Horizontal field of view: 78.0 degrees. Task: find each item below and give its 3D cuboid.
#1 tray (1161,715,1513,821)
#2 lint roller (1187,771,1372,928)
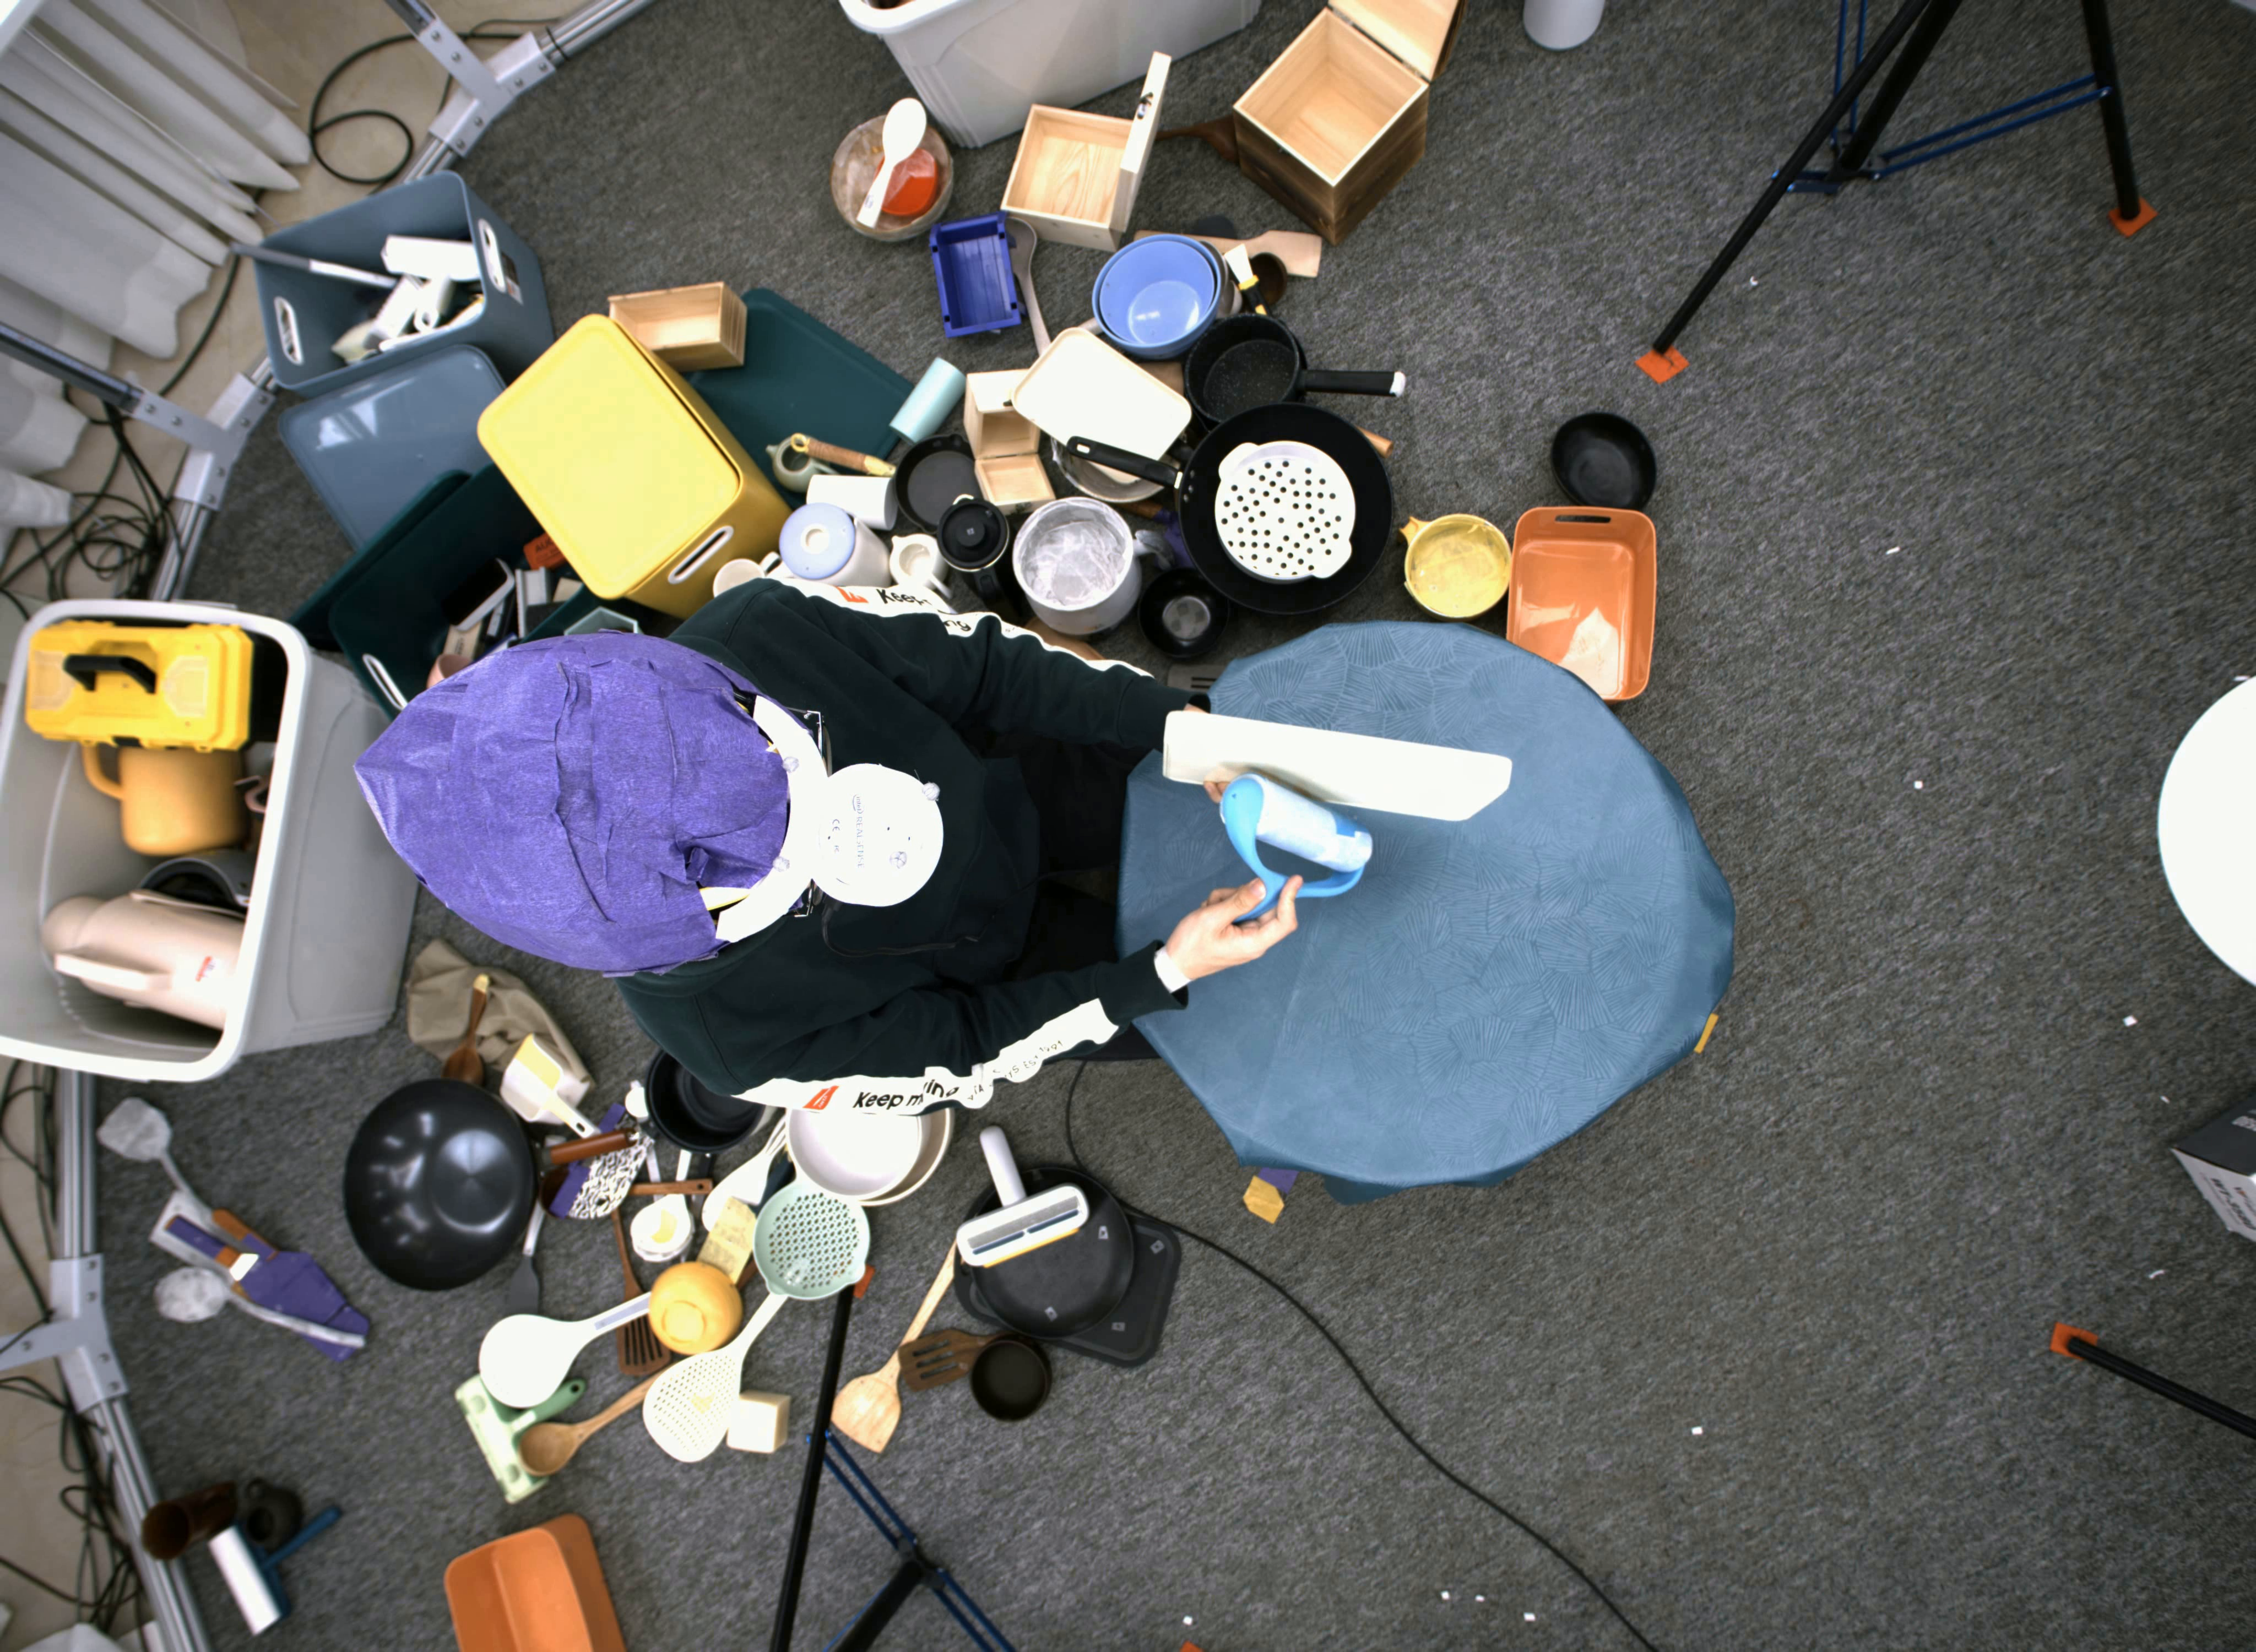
[{"bbox_3d":[0.180,-0.050,1.249,0.301,0.192,0.027,8,82,3],"label":"tray"},{"bbox_3d":[0.129,0.041,1.312,0.067,0.228,0.183,47,112,34],"label":"lint roller"}]
